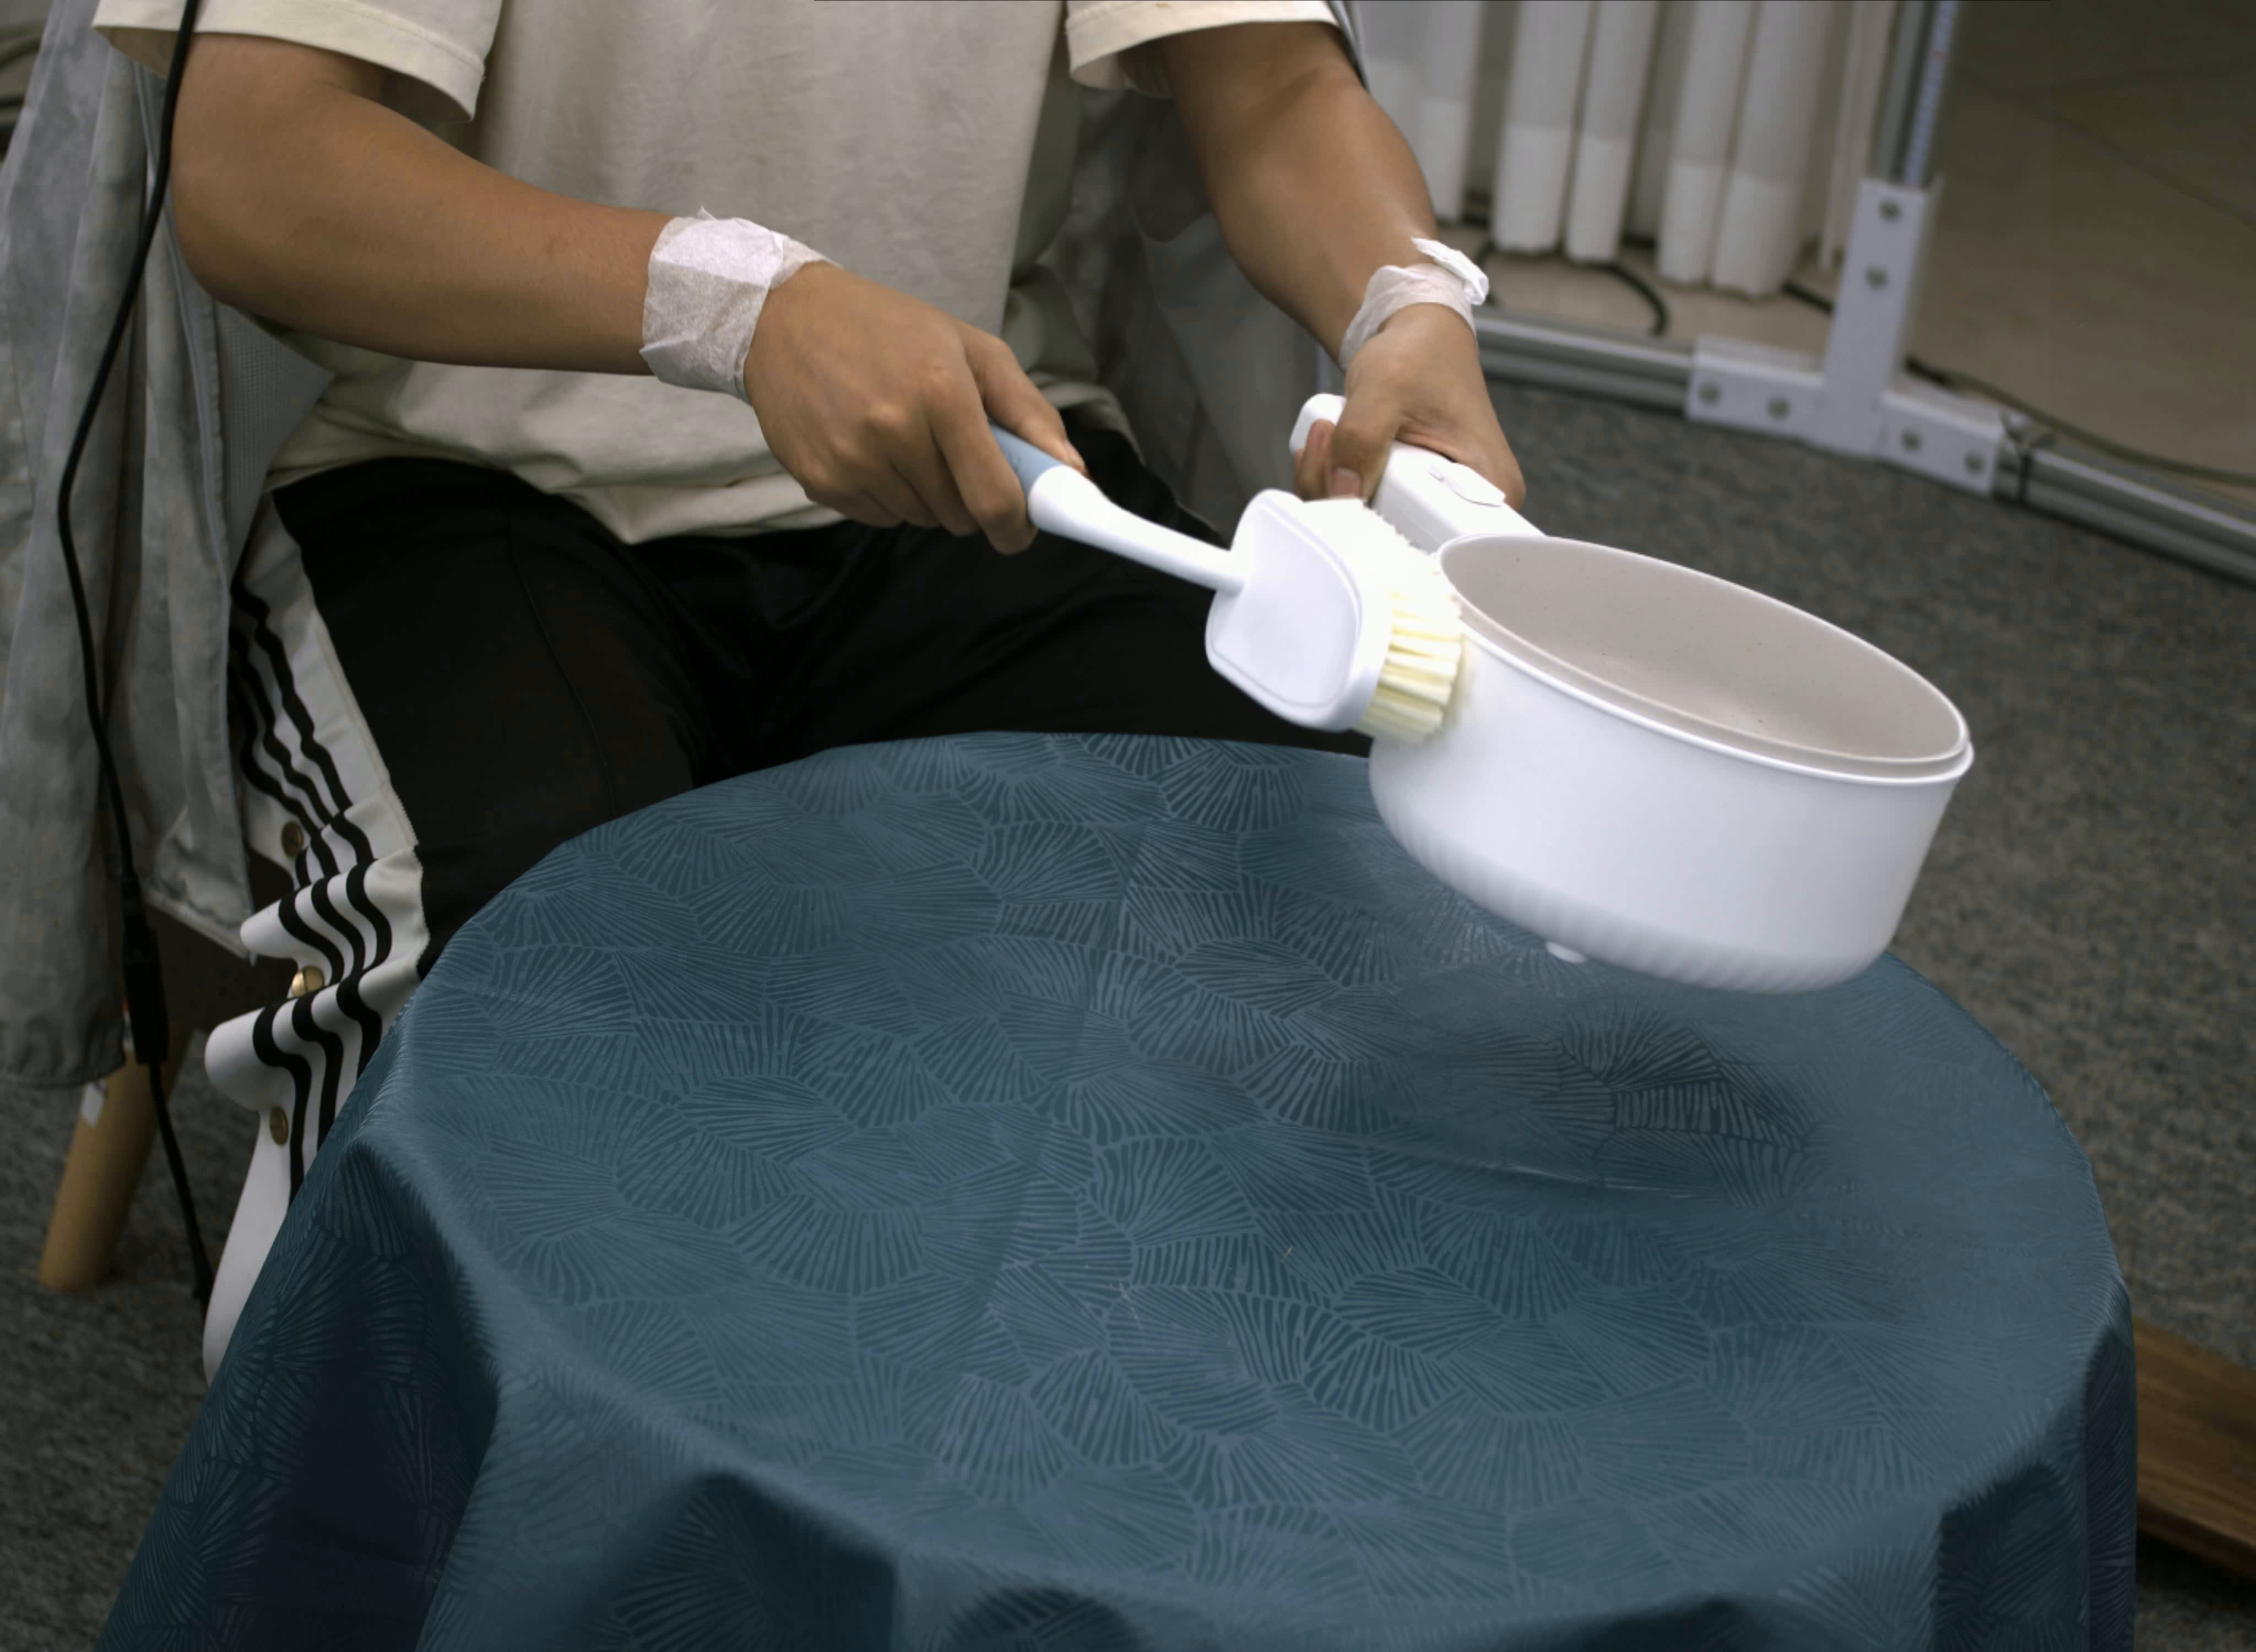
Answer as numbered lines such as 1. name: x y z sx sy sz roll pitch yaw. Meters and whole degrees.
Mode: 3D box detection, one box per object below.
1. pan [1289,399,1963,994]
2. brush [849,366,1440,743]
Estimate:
1. pan: 0.147 -0.049 1.920 0.199 0.102 0.358 6 20 -31
2. brush: 0.016 -0.107 1.910 0.083 0.084 0.328 -44 39 -11
